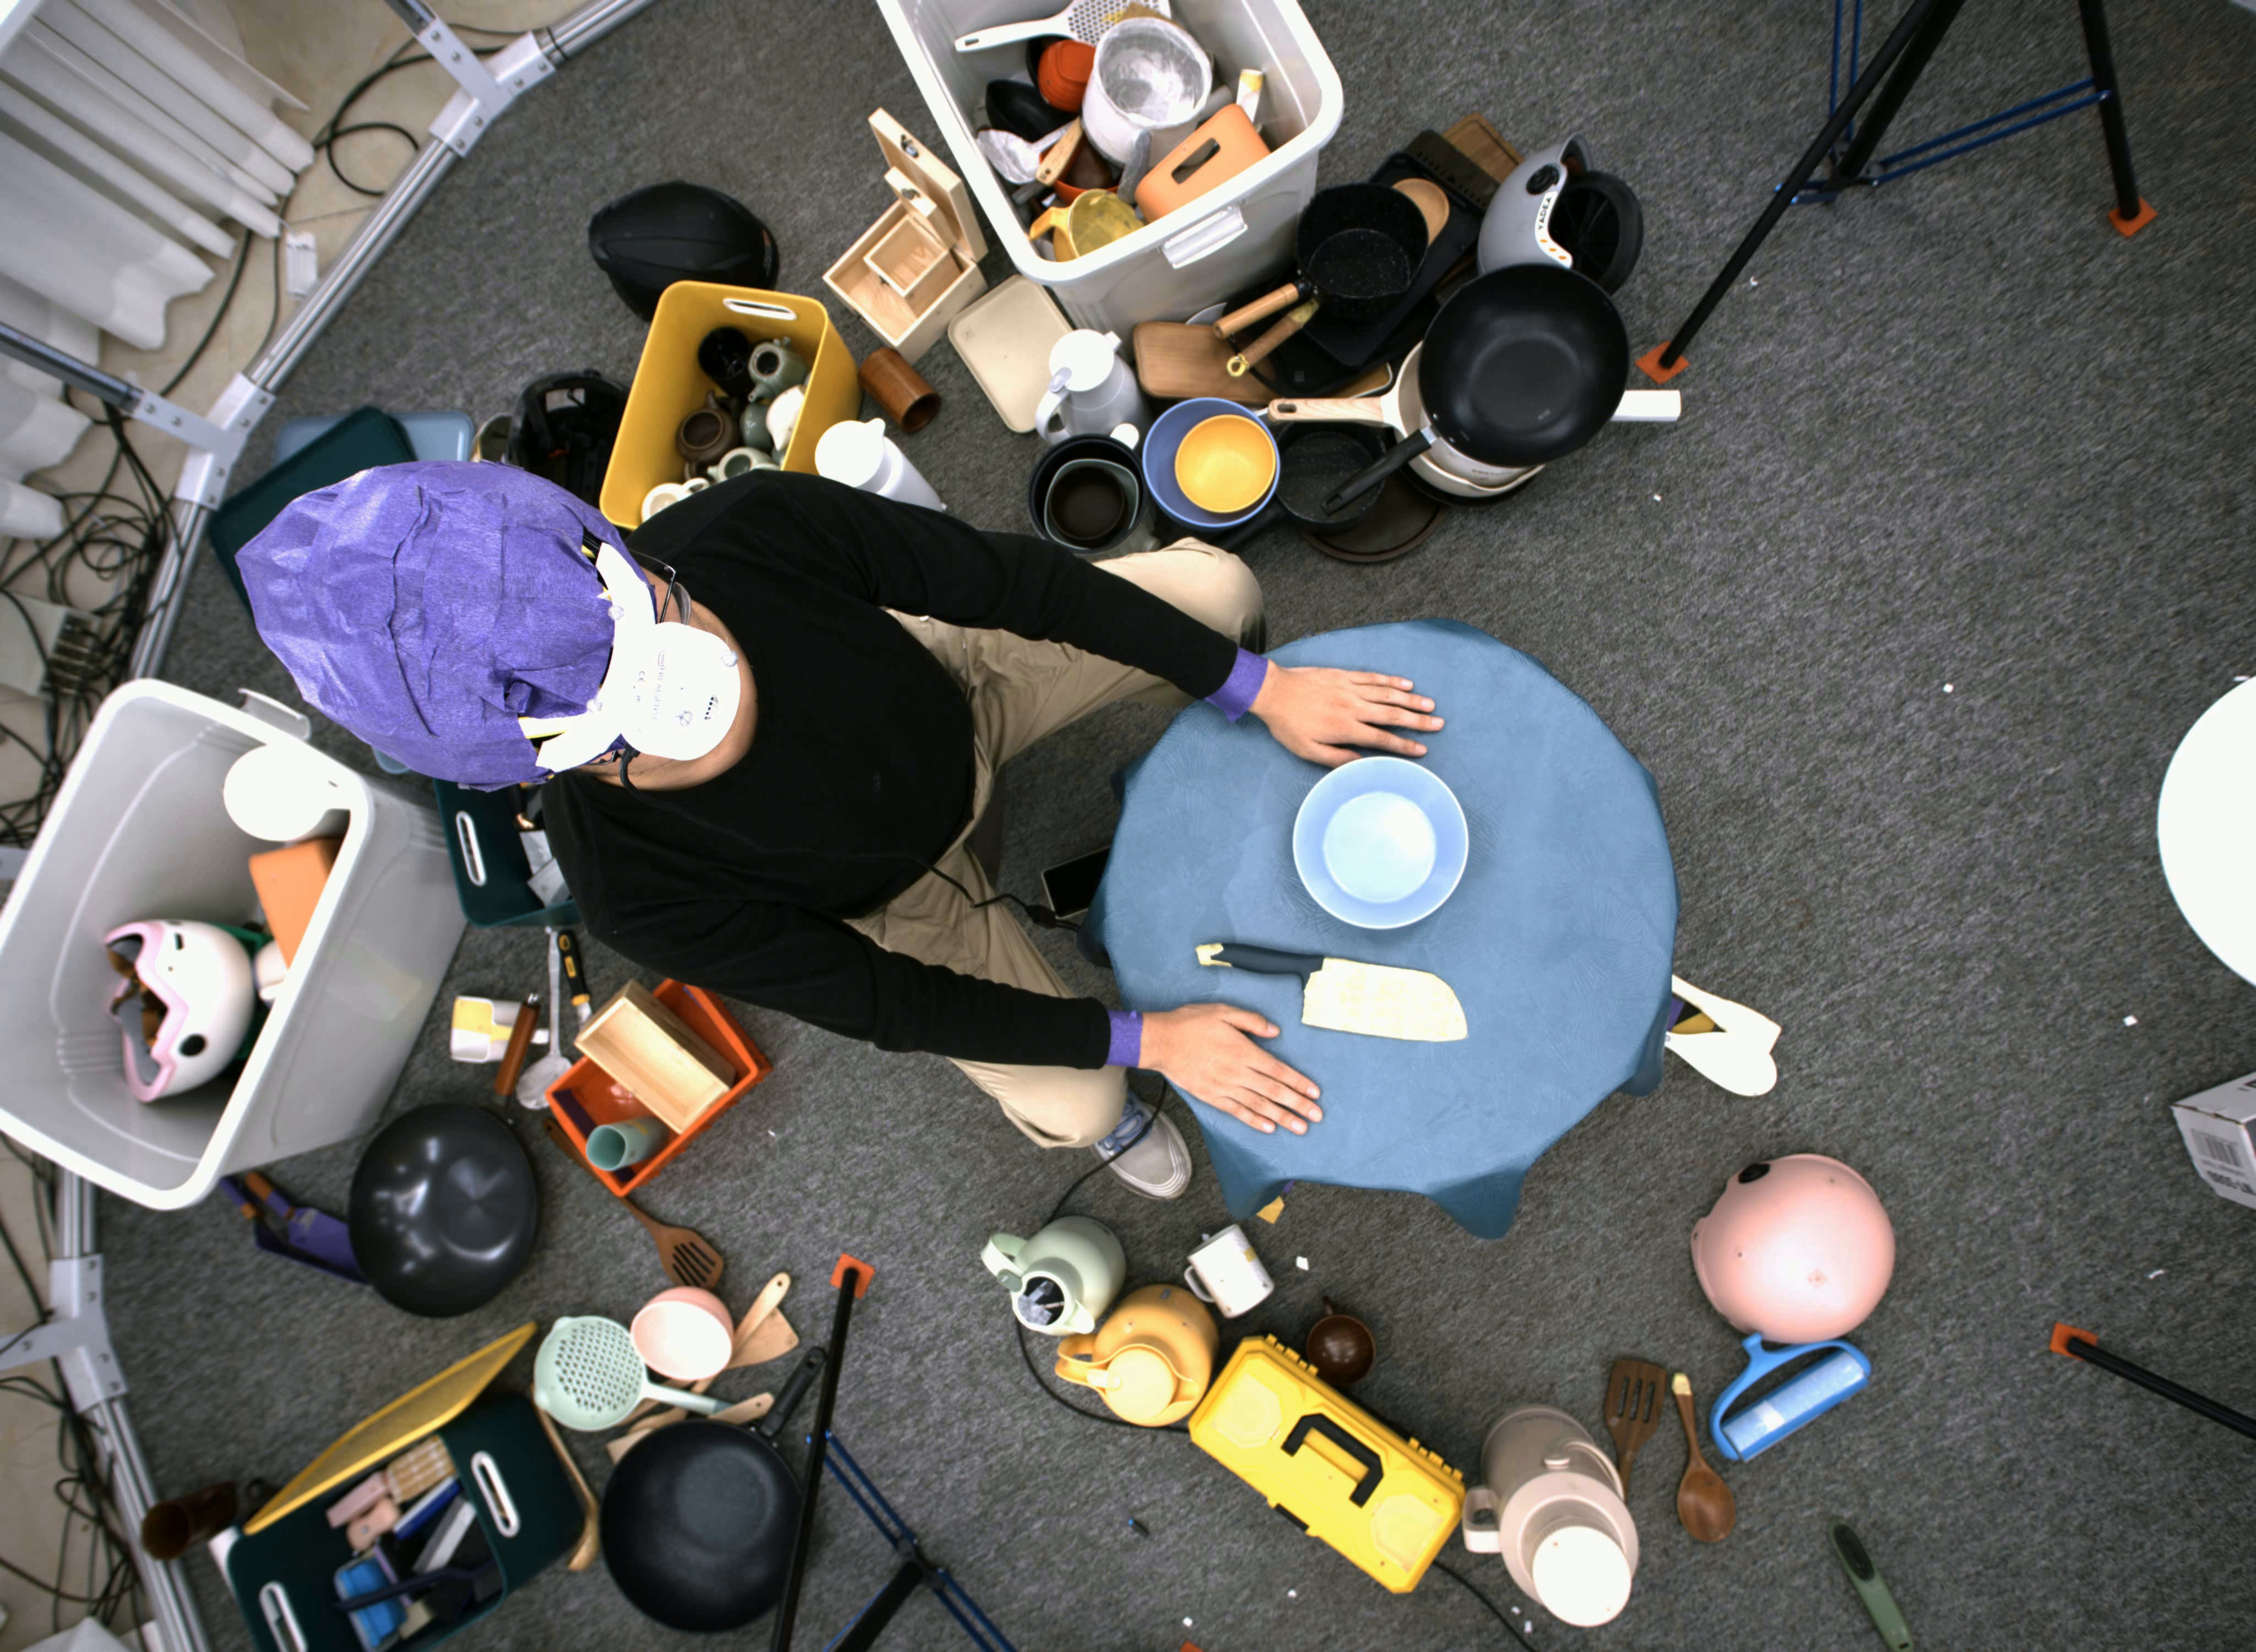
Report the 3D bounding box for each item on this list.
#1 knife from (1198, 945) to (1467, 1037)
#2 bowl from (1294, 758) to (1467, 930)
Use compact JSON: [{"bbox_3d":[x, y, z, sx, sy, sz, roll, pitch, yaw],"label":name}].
[{"bbox_3d":[0.213,0.172,1.460,0.290,0.027,0.081,11,87,10],"label":"knife"},{"bbox_3d":[0.261,0.019,1.431,0.177,0.070,0.175,-1,87,11],"label":"bowl"}]
